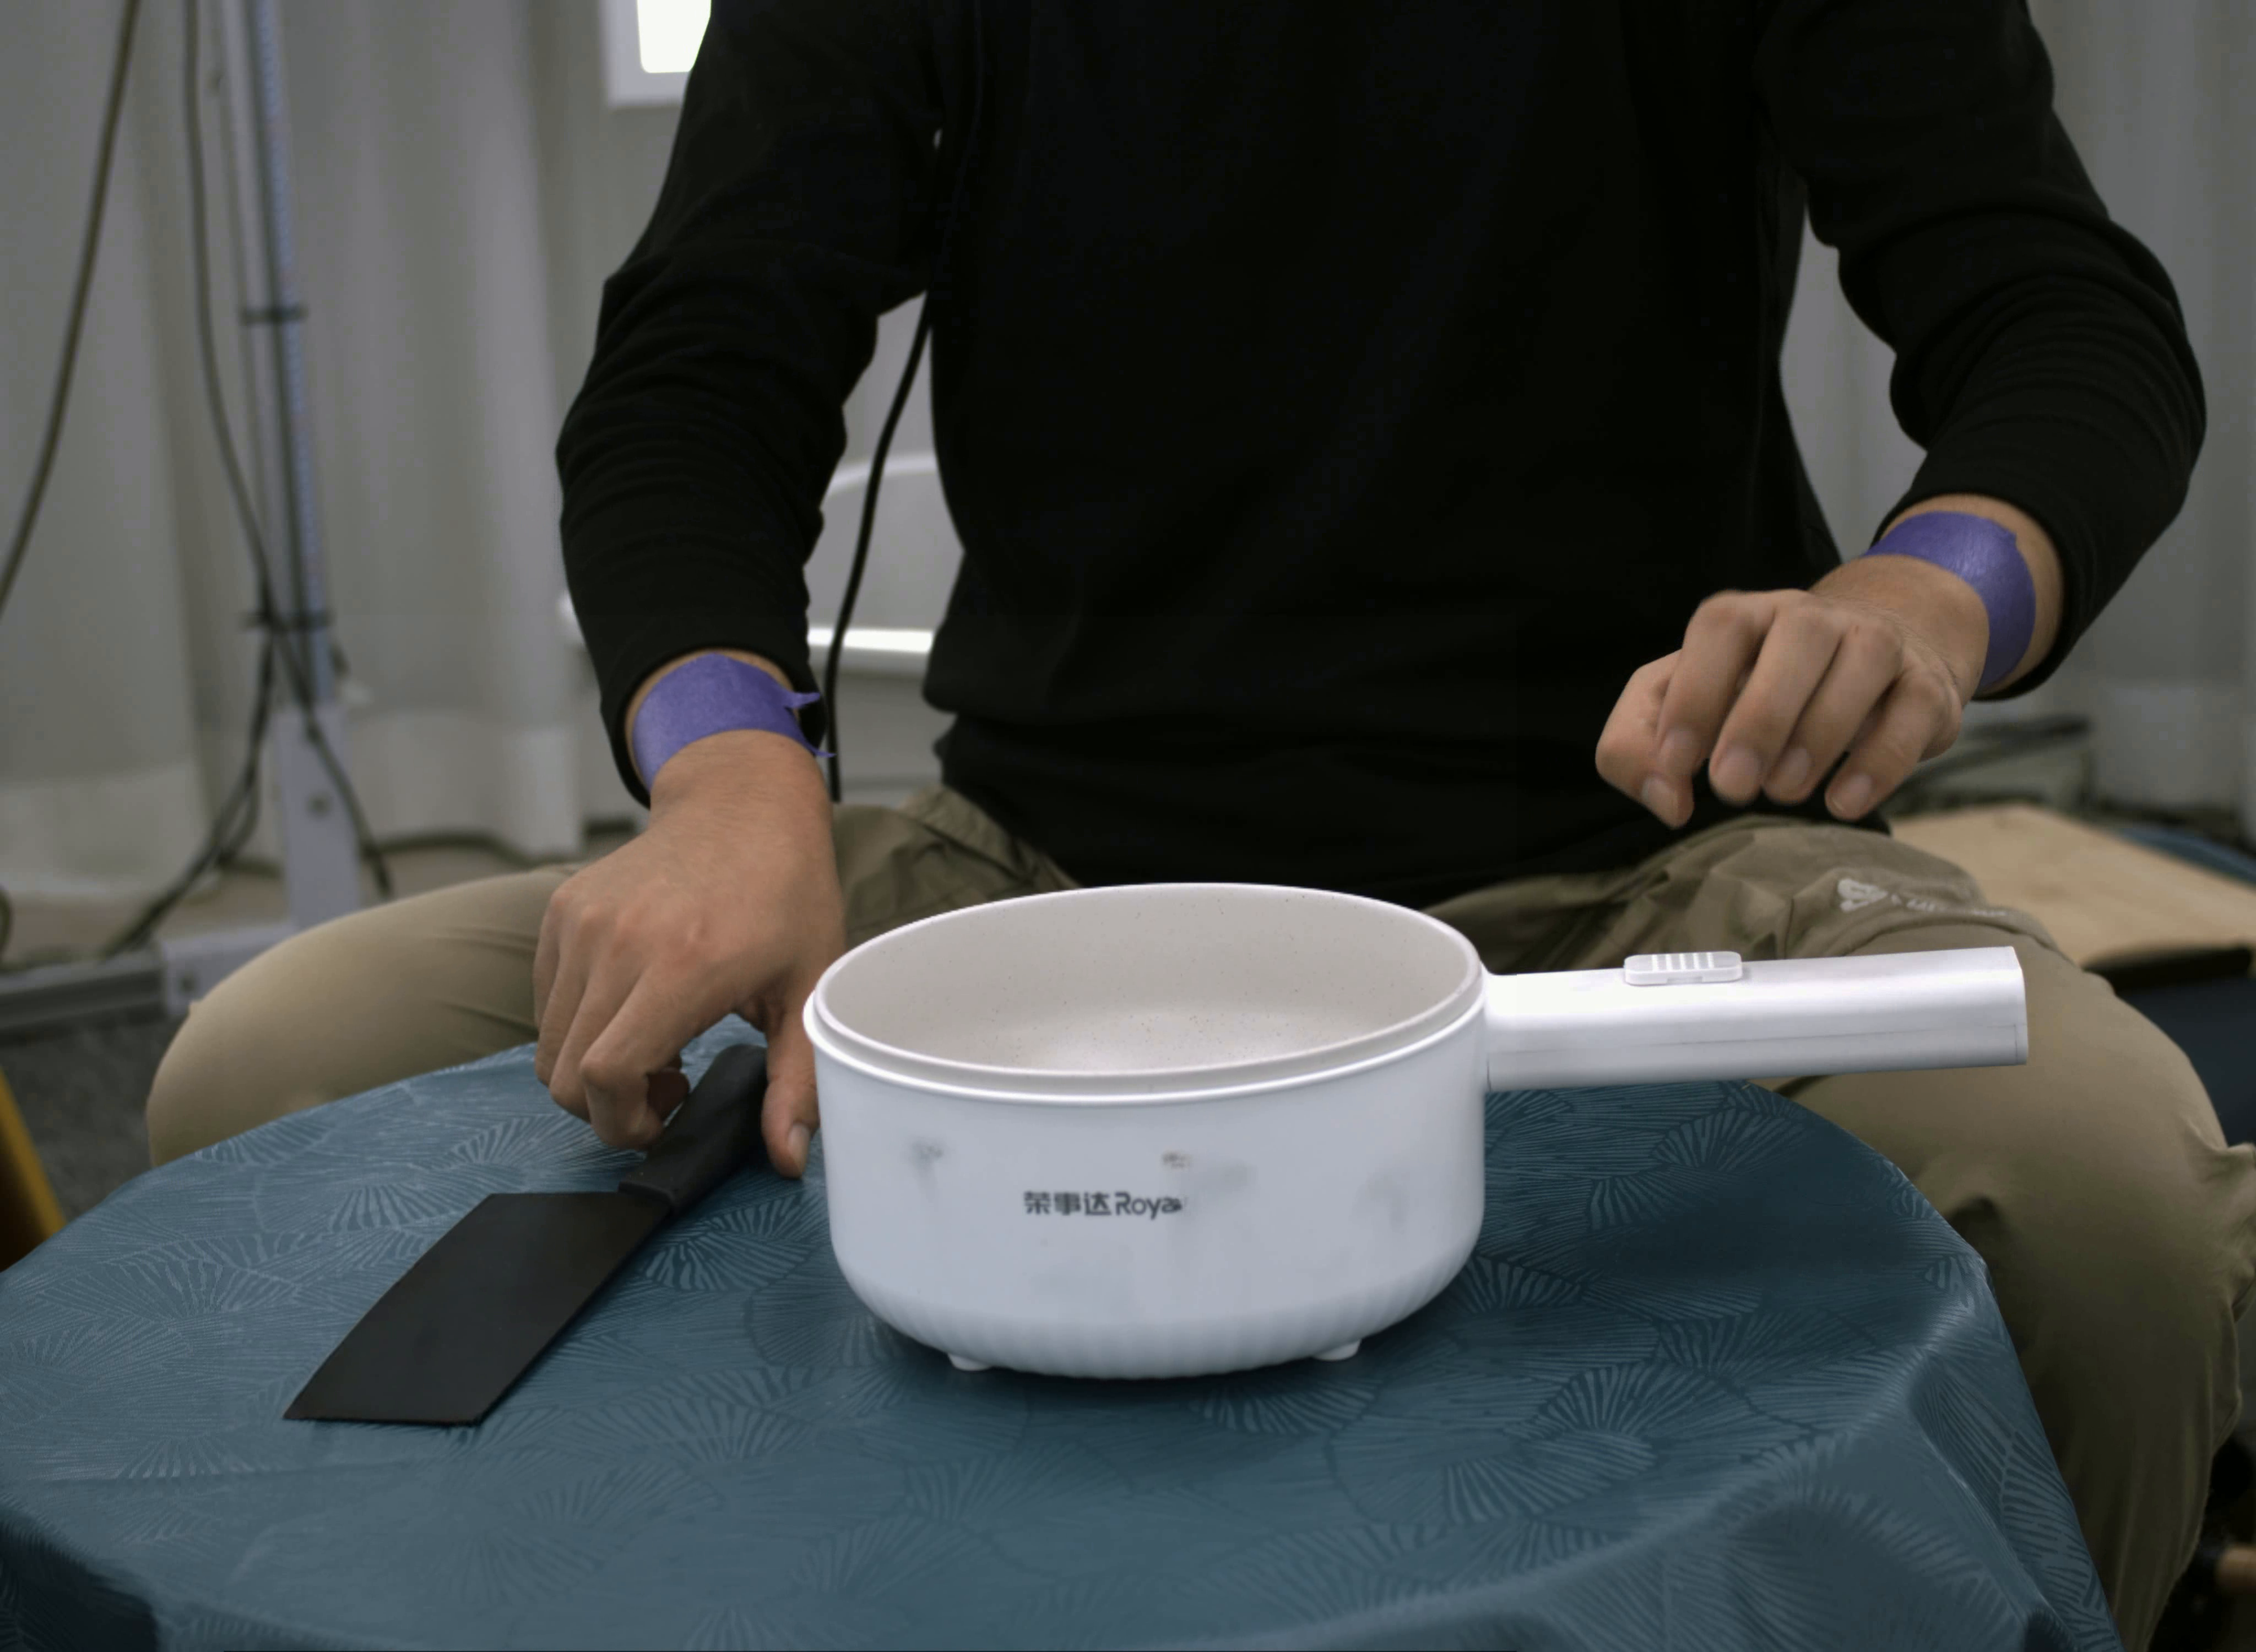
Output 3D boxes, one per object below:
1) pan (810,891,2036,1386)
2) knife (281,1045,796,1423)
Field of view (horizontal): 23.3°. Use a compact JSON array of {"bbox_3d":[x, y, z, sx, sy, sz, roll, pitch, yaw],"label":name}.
[{"bbox_3d":[0.085,0.092,1.600,0.354,0.102,0.202,0,14,4],"label":"pan"},{"bbox_3d":[-0.172,0.125,1.685,0.081,0.021,0.303,1,17,20],"label":"knife"}]
